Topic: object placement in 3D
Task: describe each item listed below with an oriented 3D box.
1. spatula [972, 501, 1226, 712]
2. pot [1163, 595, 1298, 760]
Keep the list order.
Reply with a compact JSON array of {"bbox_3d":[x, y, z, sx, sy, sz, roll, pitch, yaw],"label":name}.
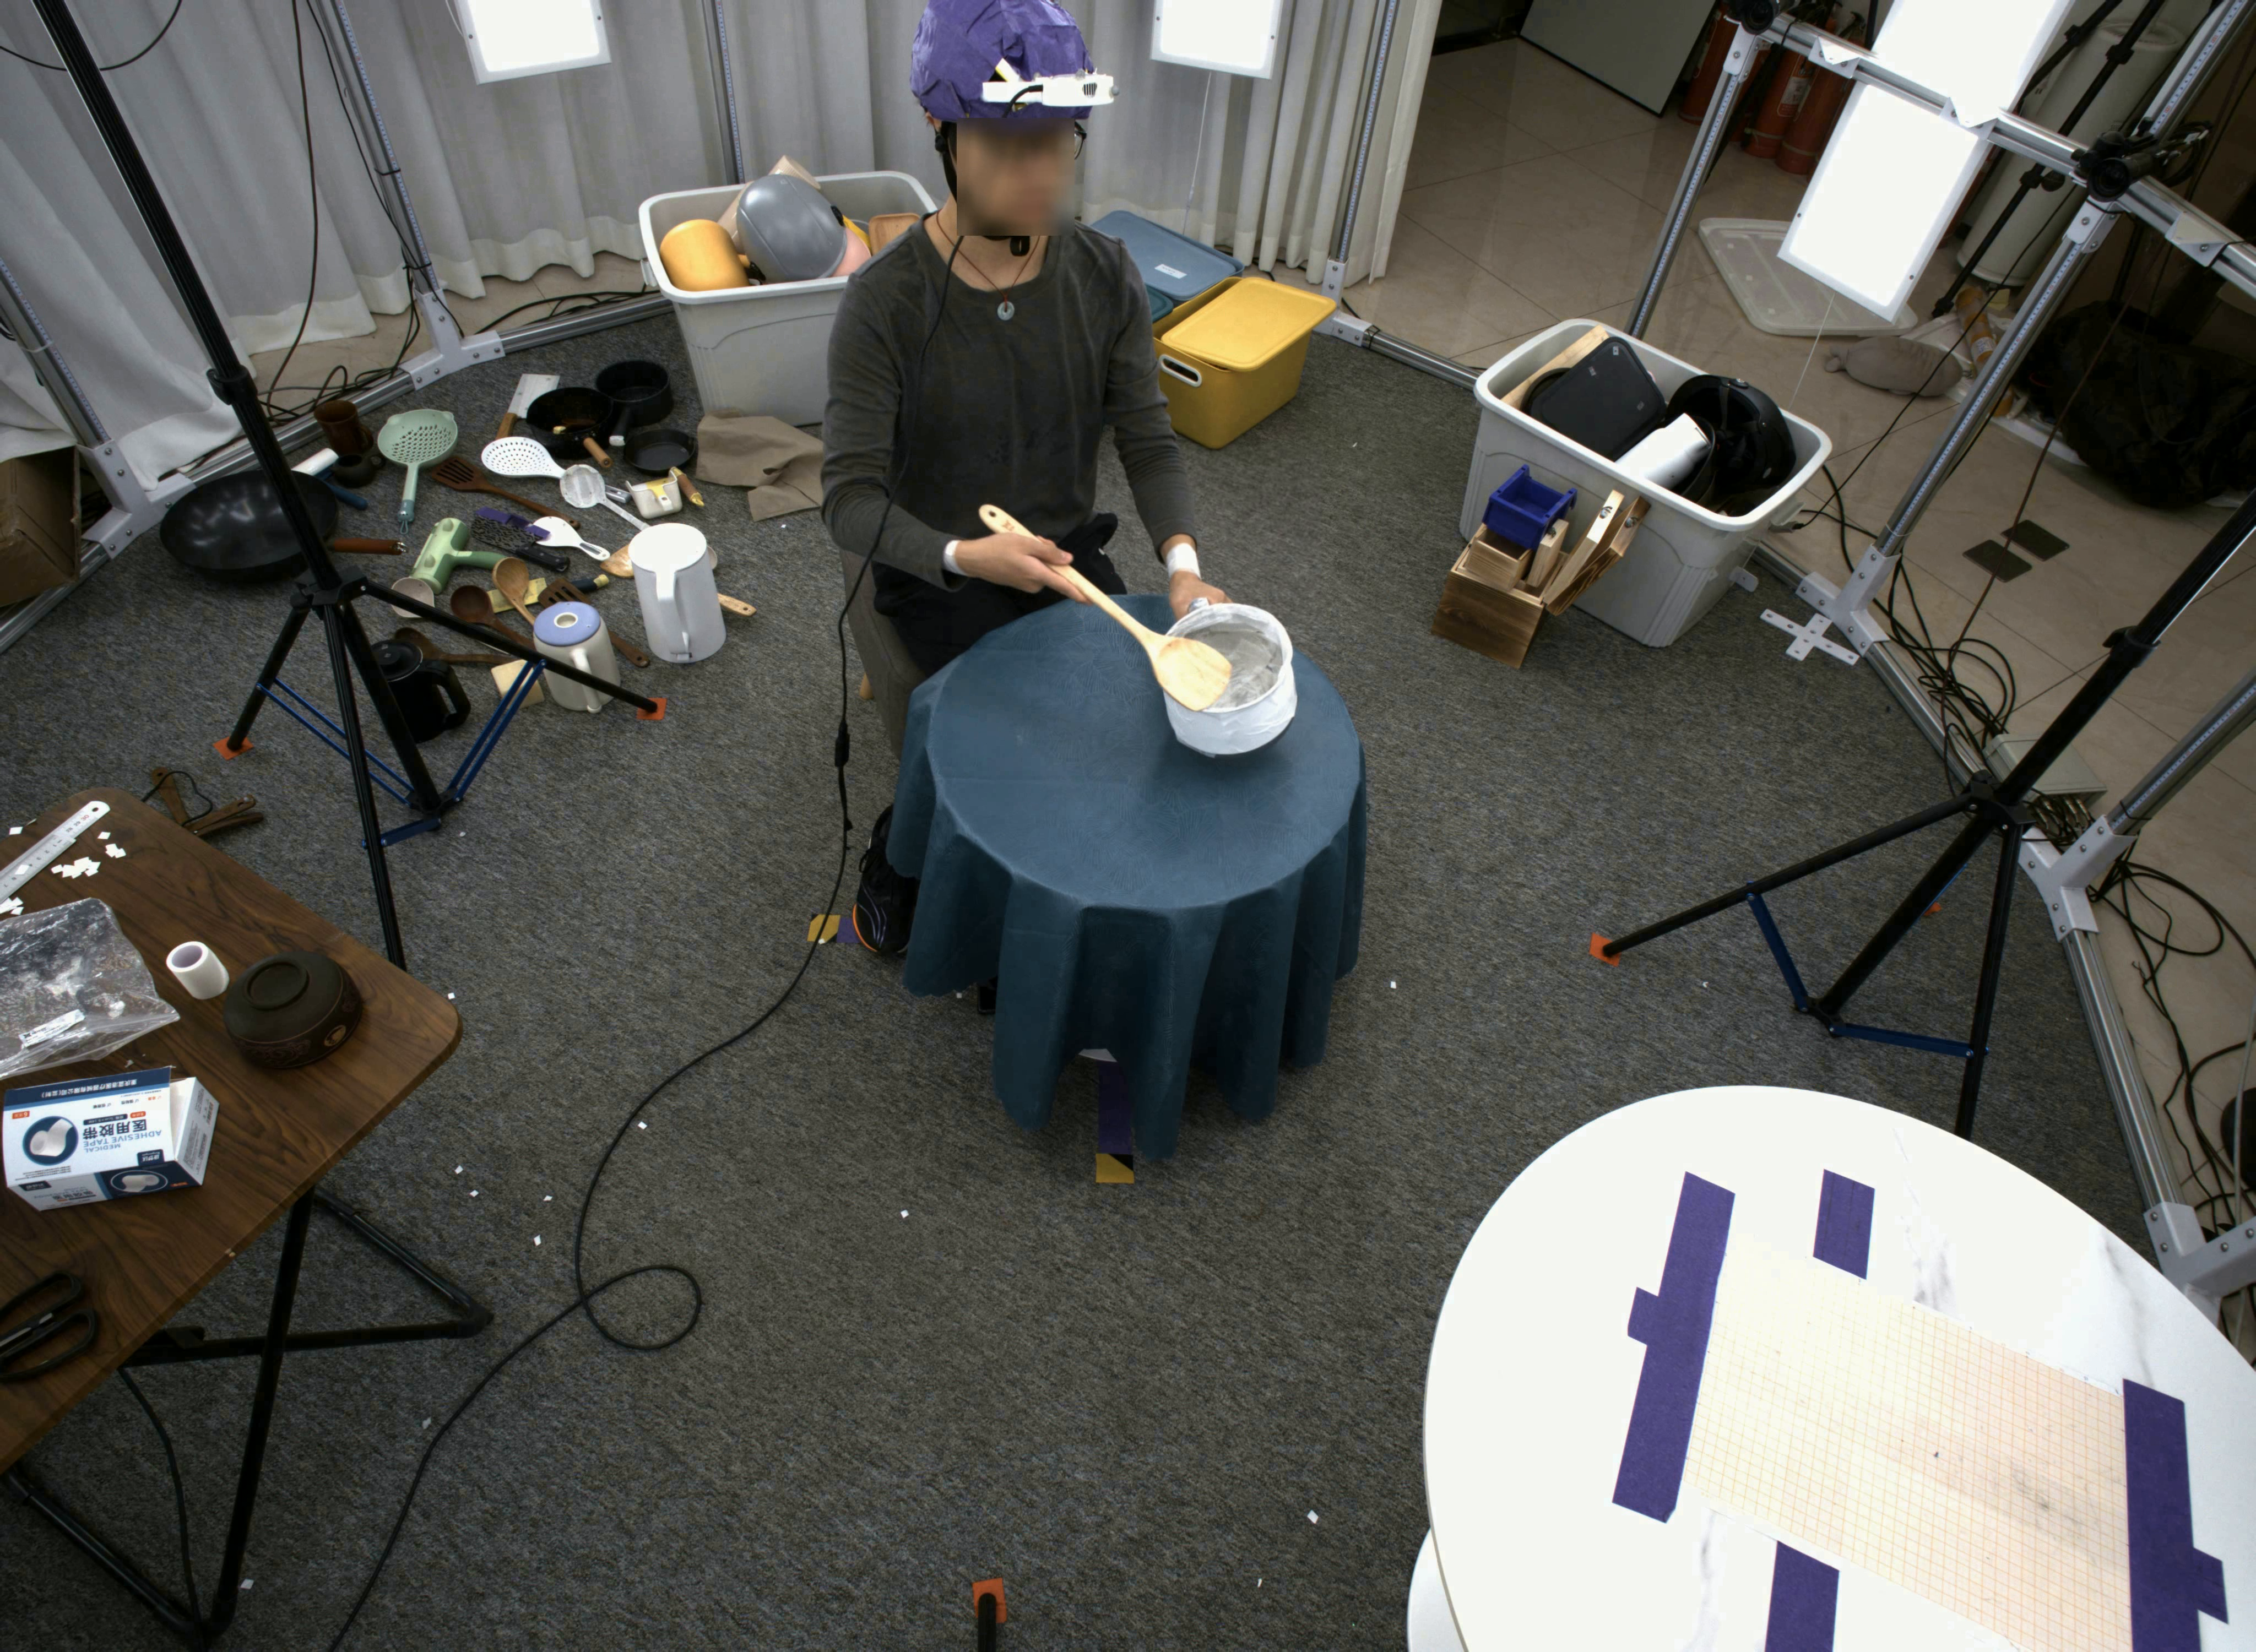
[{"bbox_3d":[-0.044,-0.285,1.626,0.391,0.018,0.097,39,64,2],"label":"spatula"},{"bbox_3d":[0.126,-0.209,1.713,0.178,0.133,0.239,-19,57,-1],"label":"pot"}]
